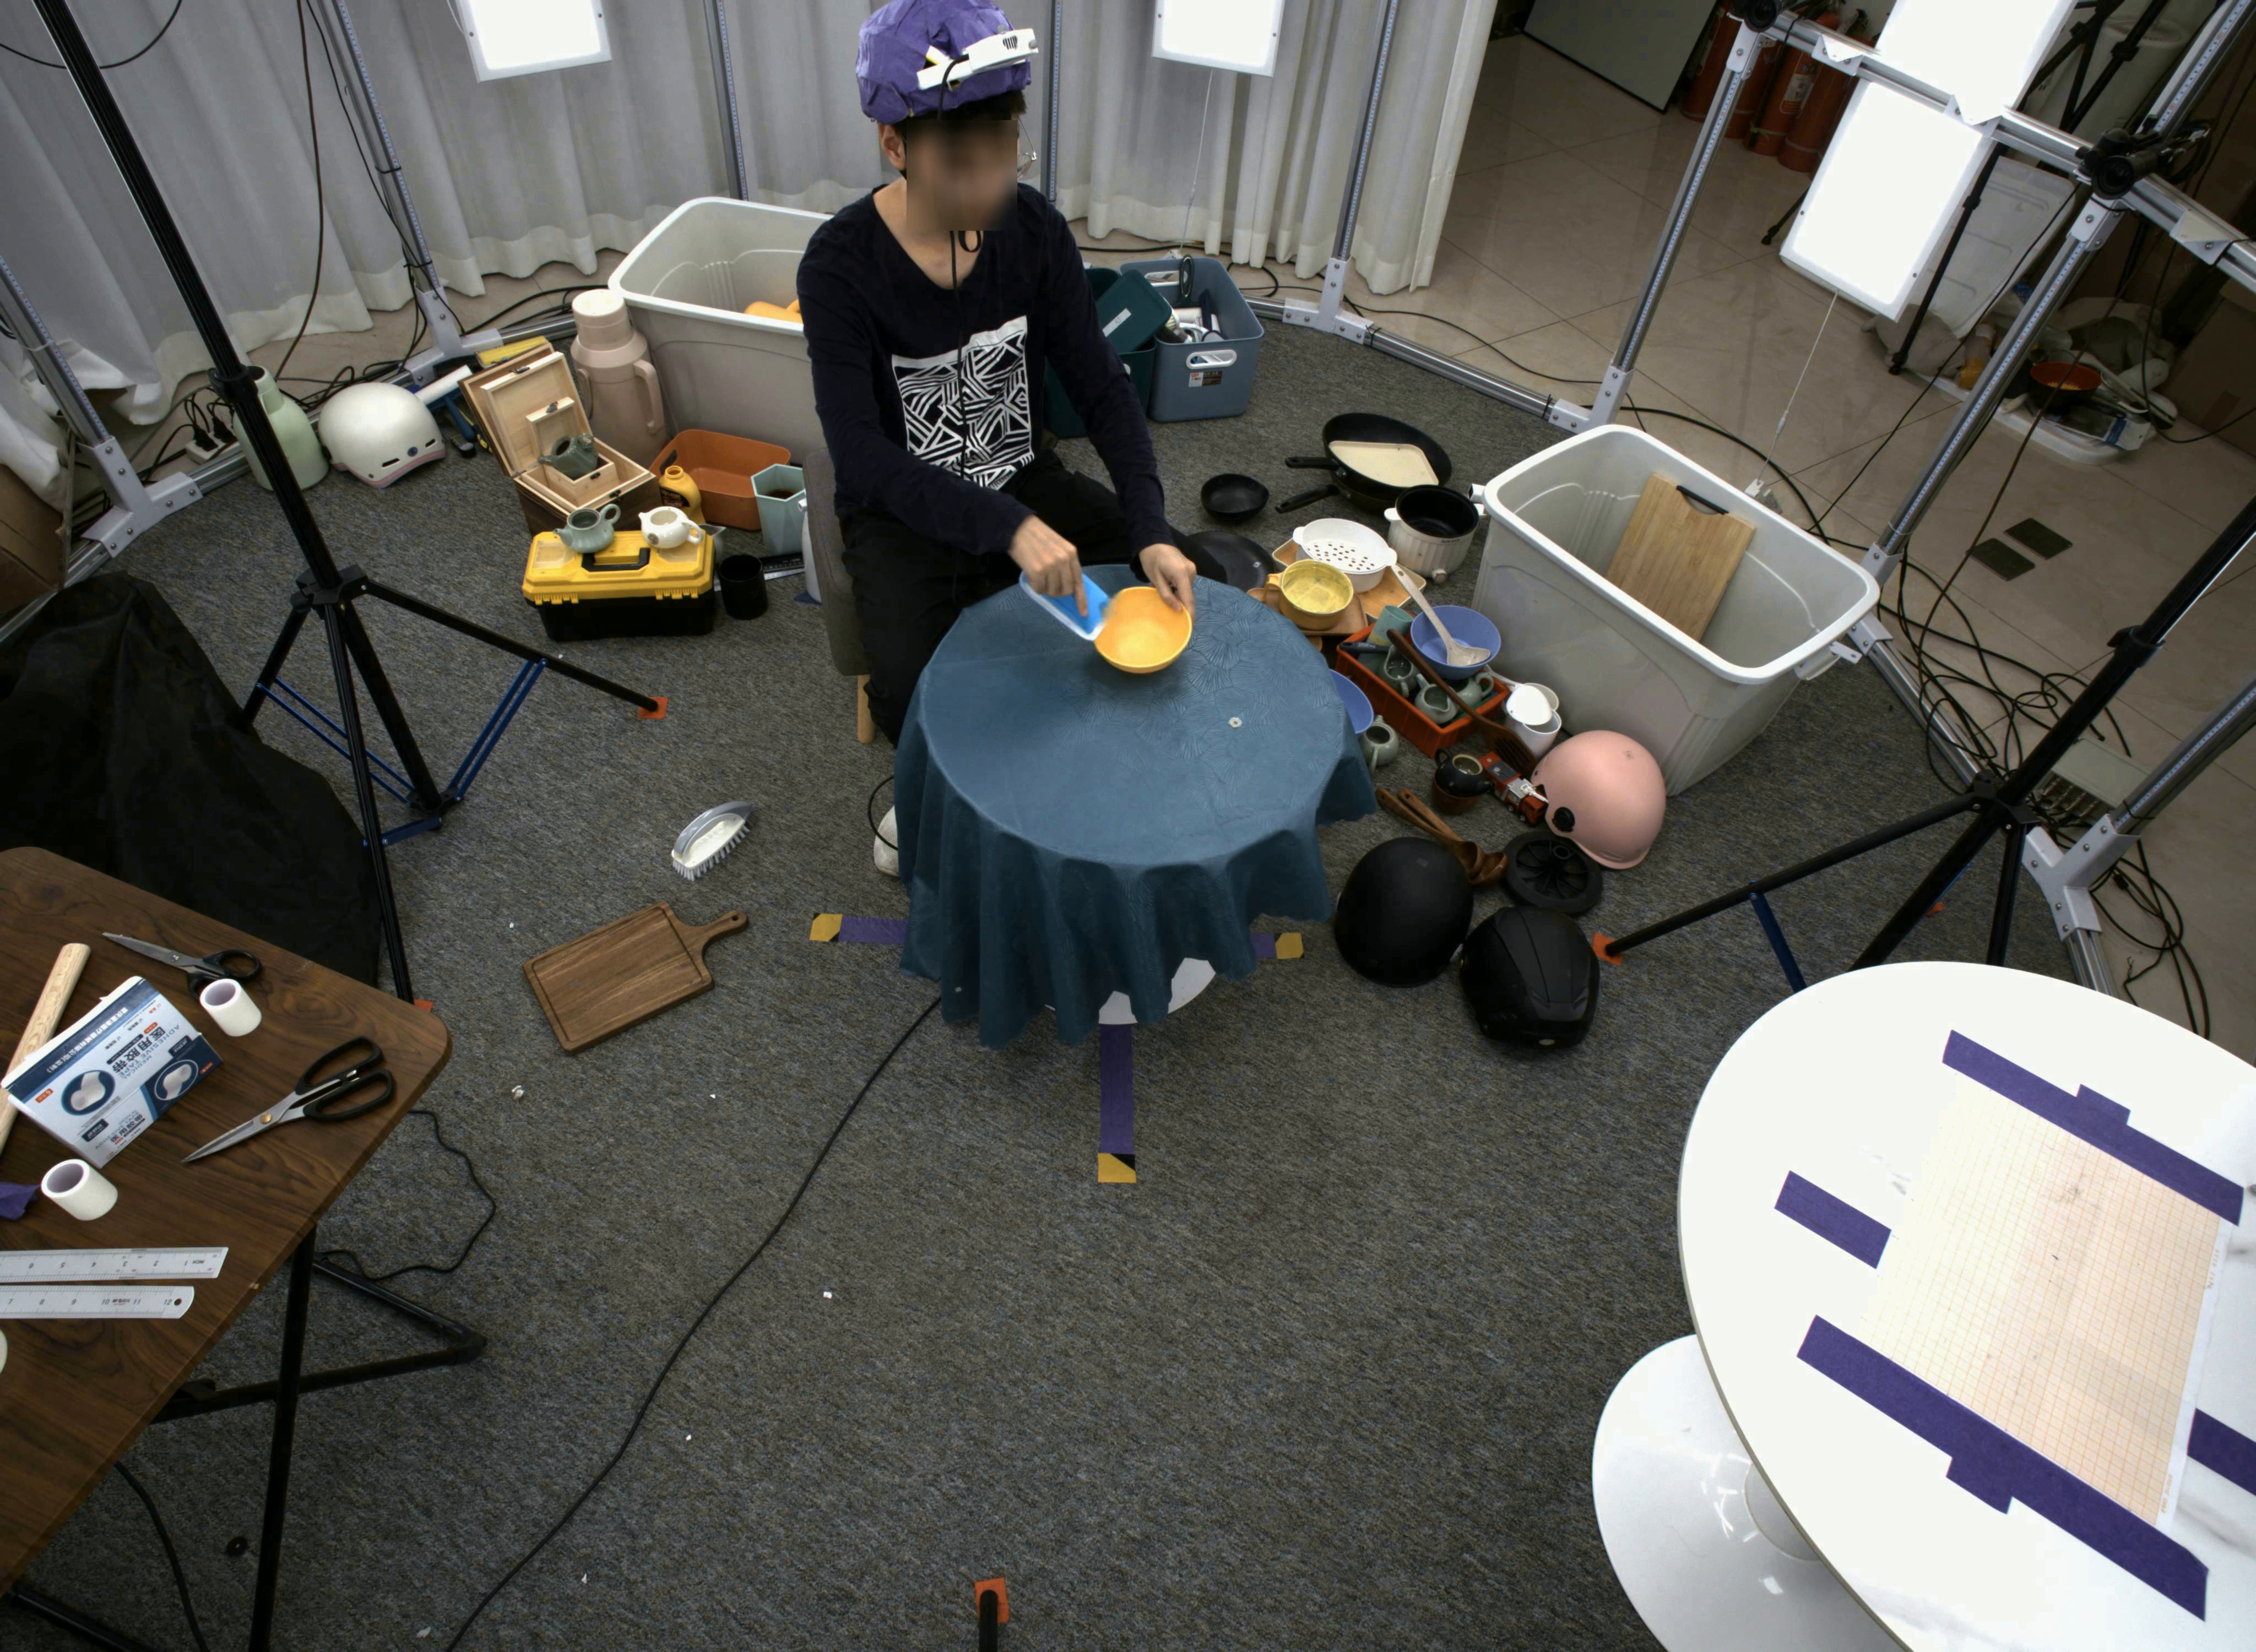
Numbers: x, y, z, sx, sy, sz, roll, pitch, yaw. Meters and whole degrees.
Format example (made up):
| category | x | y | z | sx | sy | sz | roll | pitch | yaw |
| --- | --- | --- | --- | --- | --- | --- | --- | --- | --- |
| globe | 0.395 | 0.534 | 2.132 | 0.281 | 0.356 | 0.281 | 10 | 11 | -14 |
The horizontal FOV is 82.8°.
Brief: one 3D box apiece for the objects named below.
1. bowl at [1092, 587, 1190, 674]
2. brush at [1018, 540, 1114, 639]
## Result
| category | x | y | z | sx | sy | sz | roll | pitch | yaw |
| --- | --- | --- | --- | --- | --- | --- | --- | --- | --- |
| bowl | 0.019 | -0.272 | 1.861 | 0.145 | 0.059 | 0.148 | -1 | 60 | 2 |
| brush | -0.078 | -0.330 | 1.775 | 0.142 | 0.055 | 0.085 | 41 | 60 | -19 |
